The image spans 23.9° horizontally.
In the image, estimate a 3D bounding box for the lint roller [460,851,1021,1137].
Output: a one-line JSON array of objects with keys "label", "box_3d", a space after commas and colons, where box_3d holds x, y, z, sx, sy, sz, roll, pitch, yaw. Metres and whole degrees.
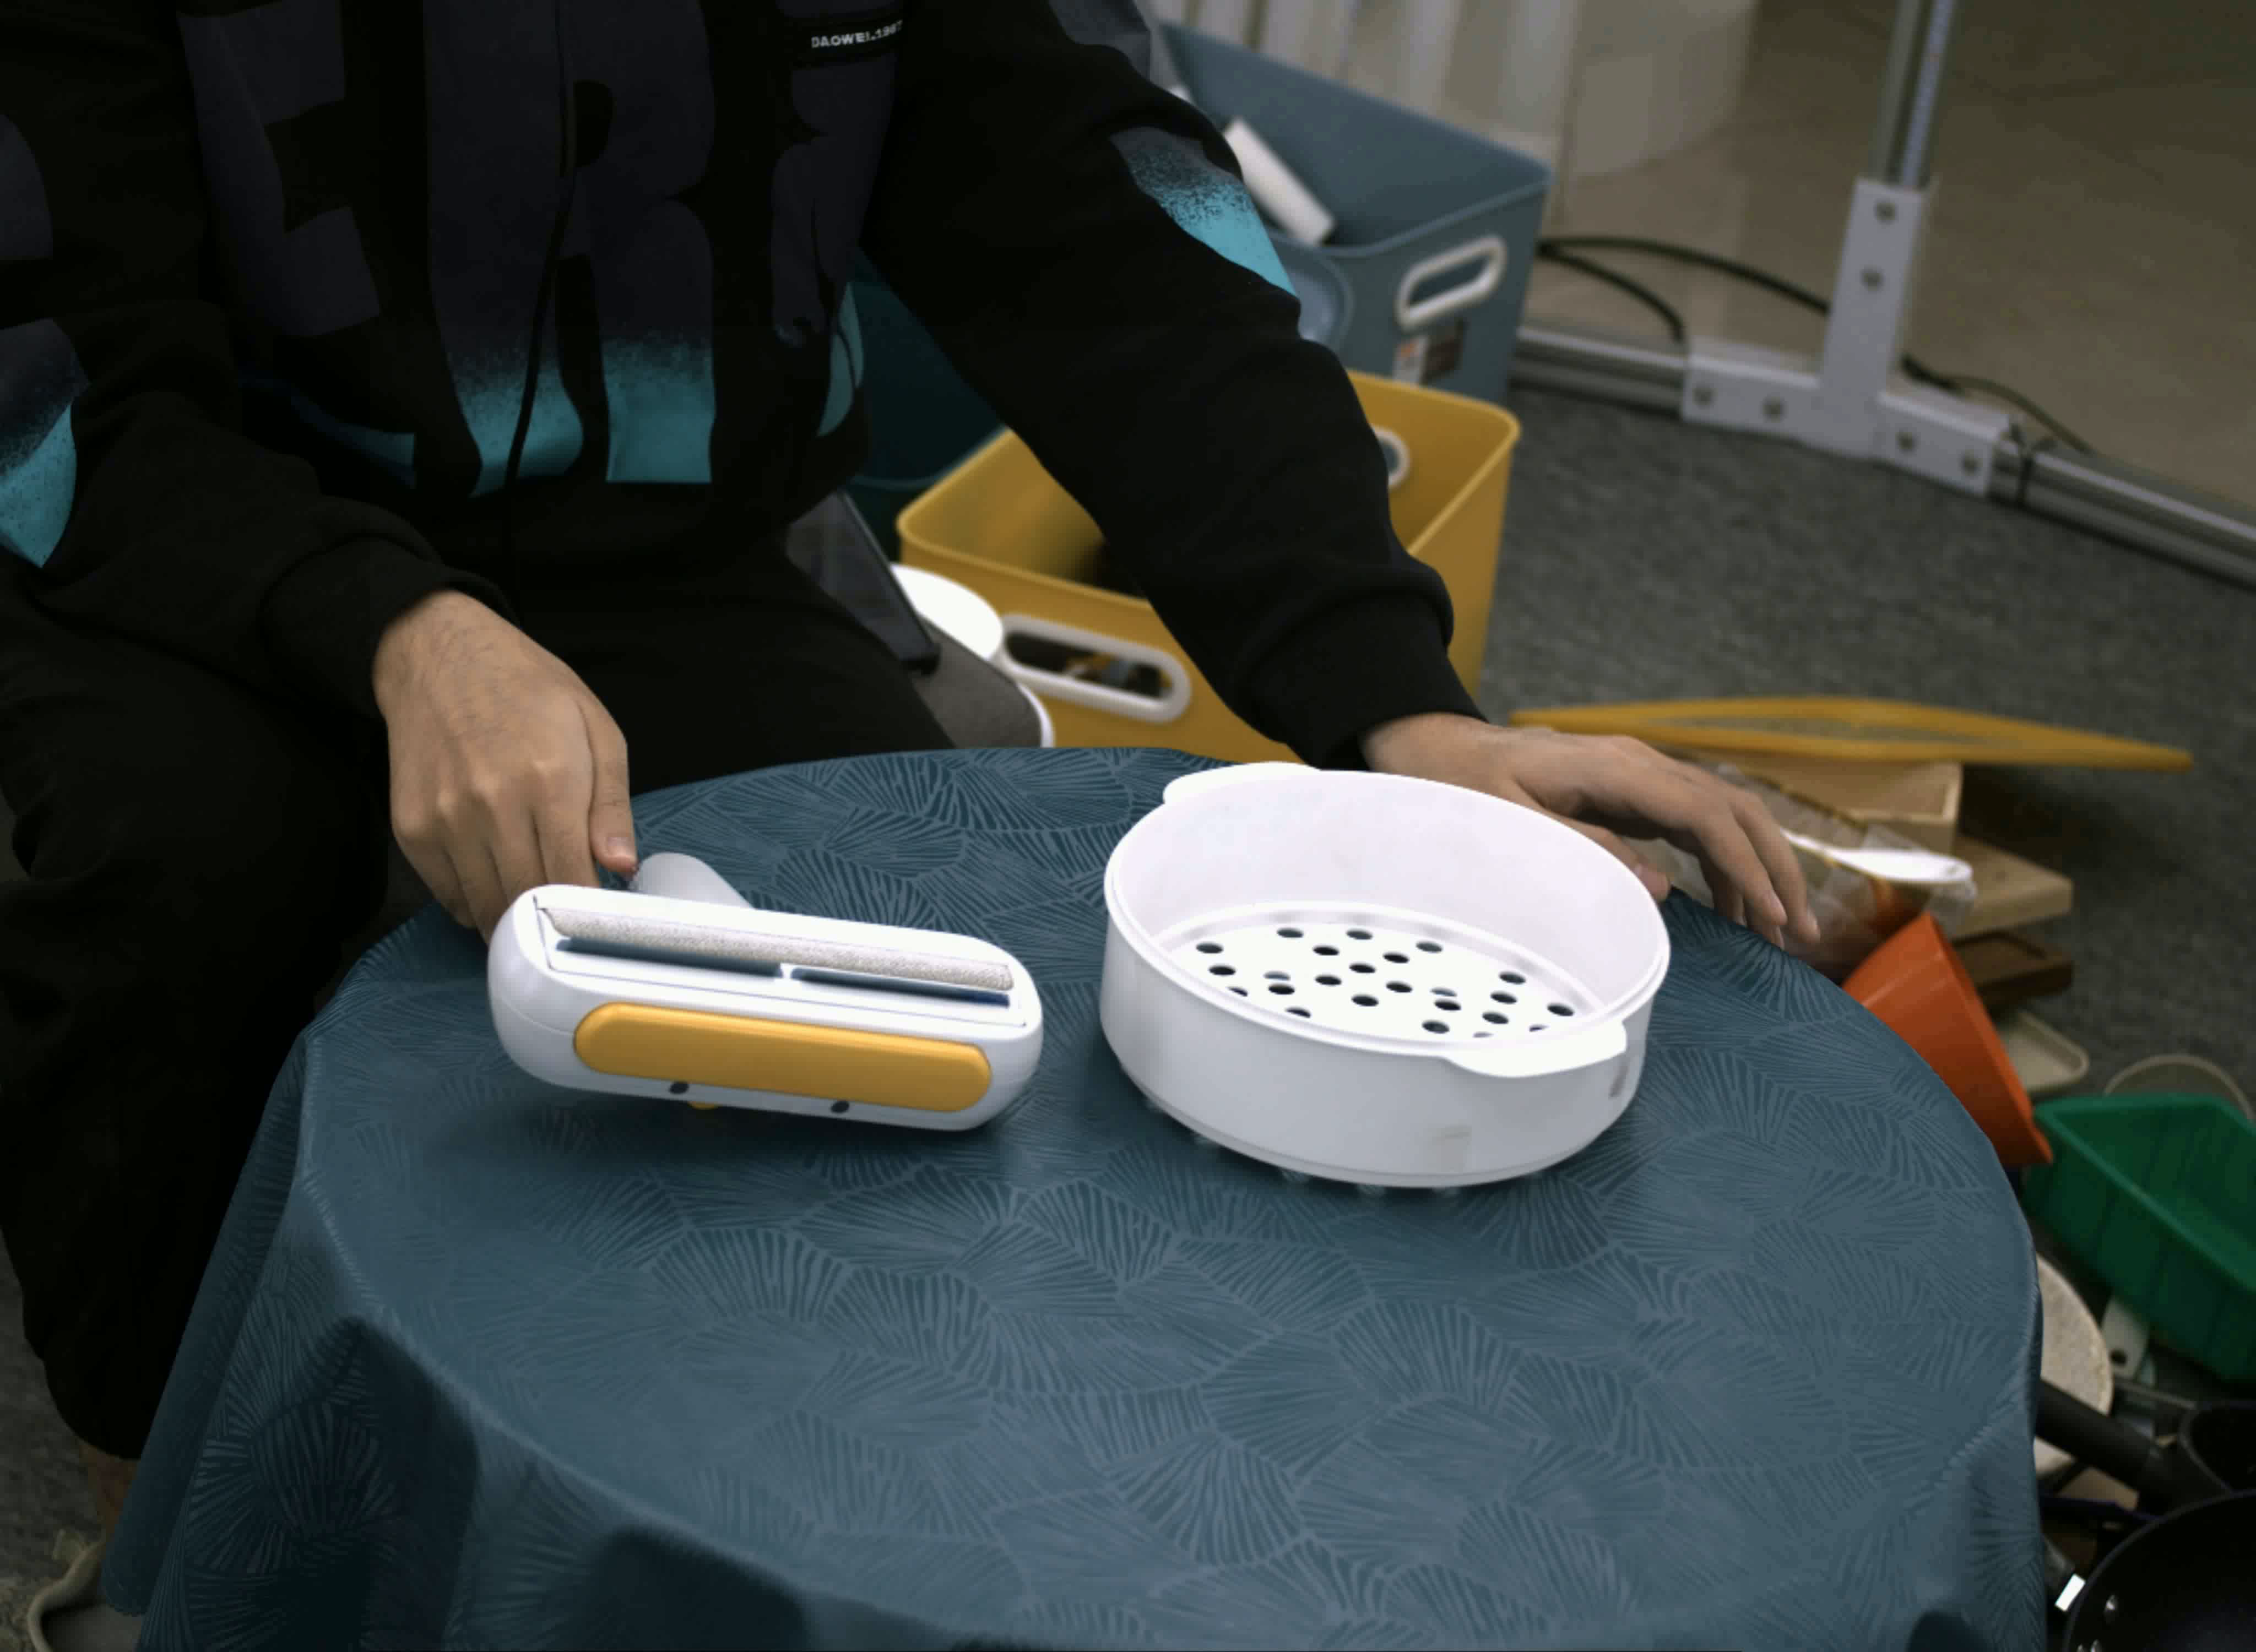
[{"label": "lint roller", "box_3d": [-0.143, 0.042, 1.853, 0.192, 0.074, 0.194, 5, 25, -15]}]

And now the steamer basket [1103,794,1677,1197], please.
[{"label": "steamer basket", "box_3d": [0.090, 0.061, 1.875, 0.200, 0.069, 0.232, -8, 27, -29]}]
